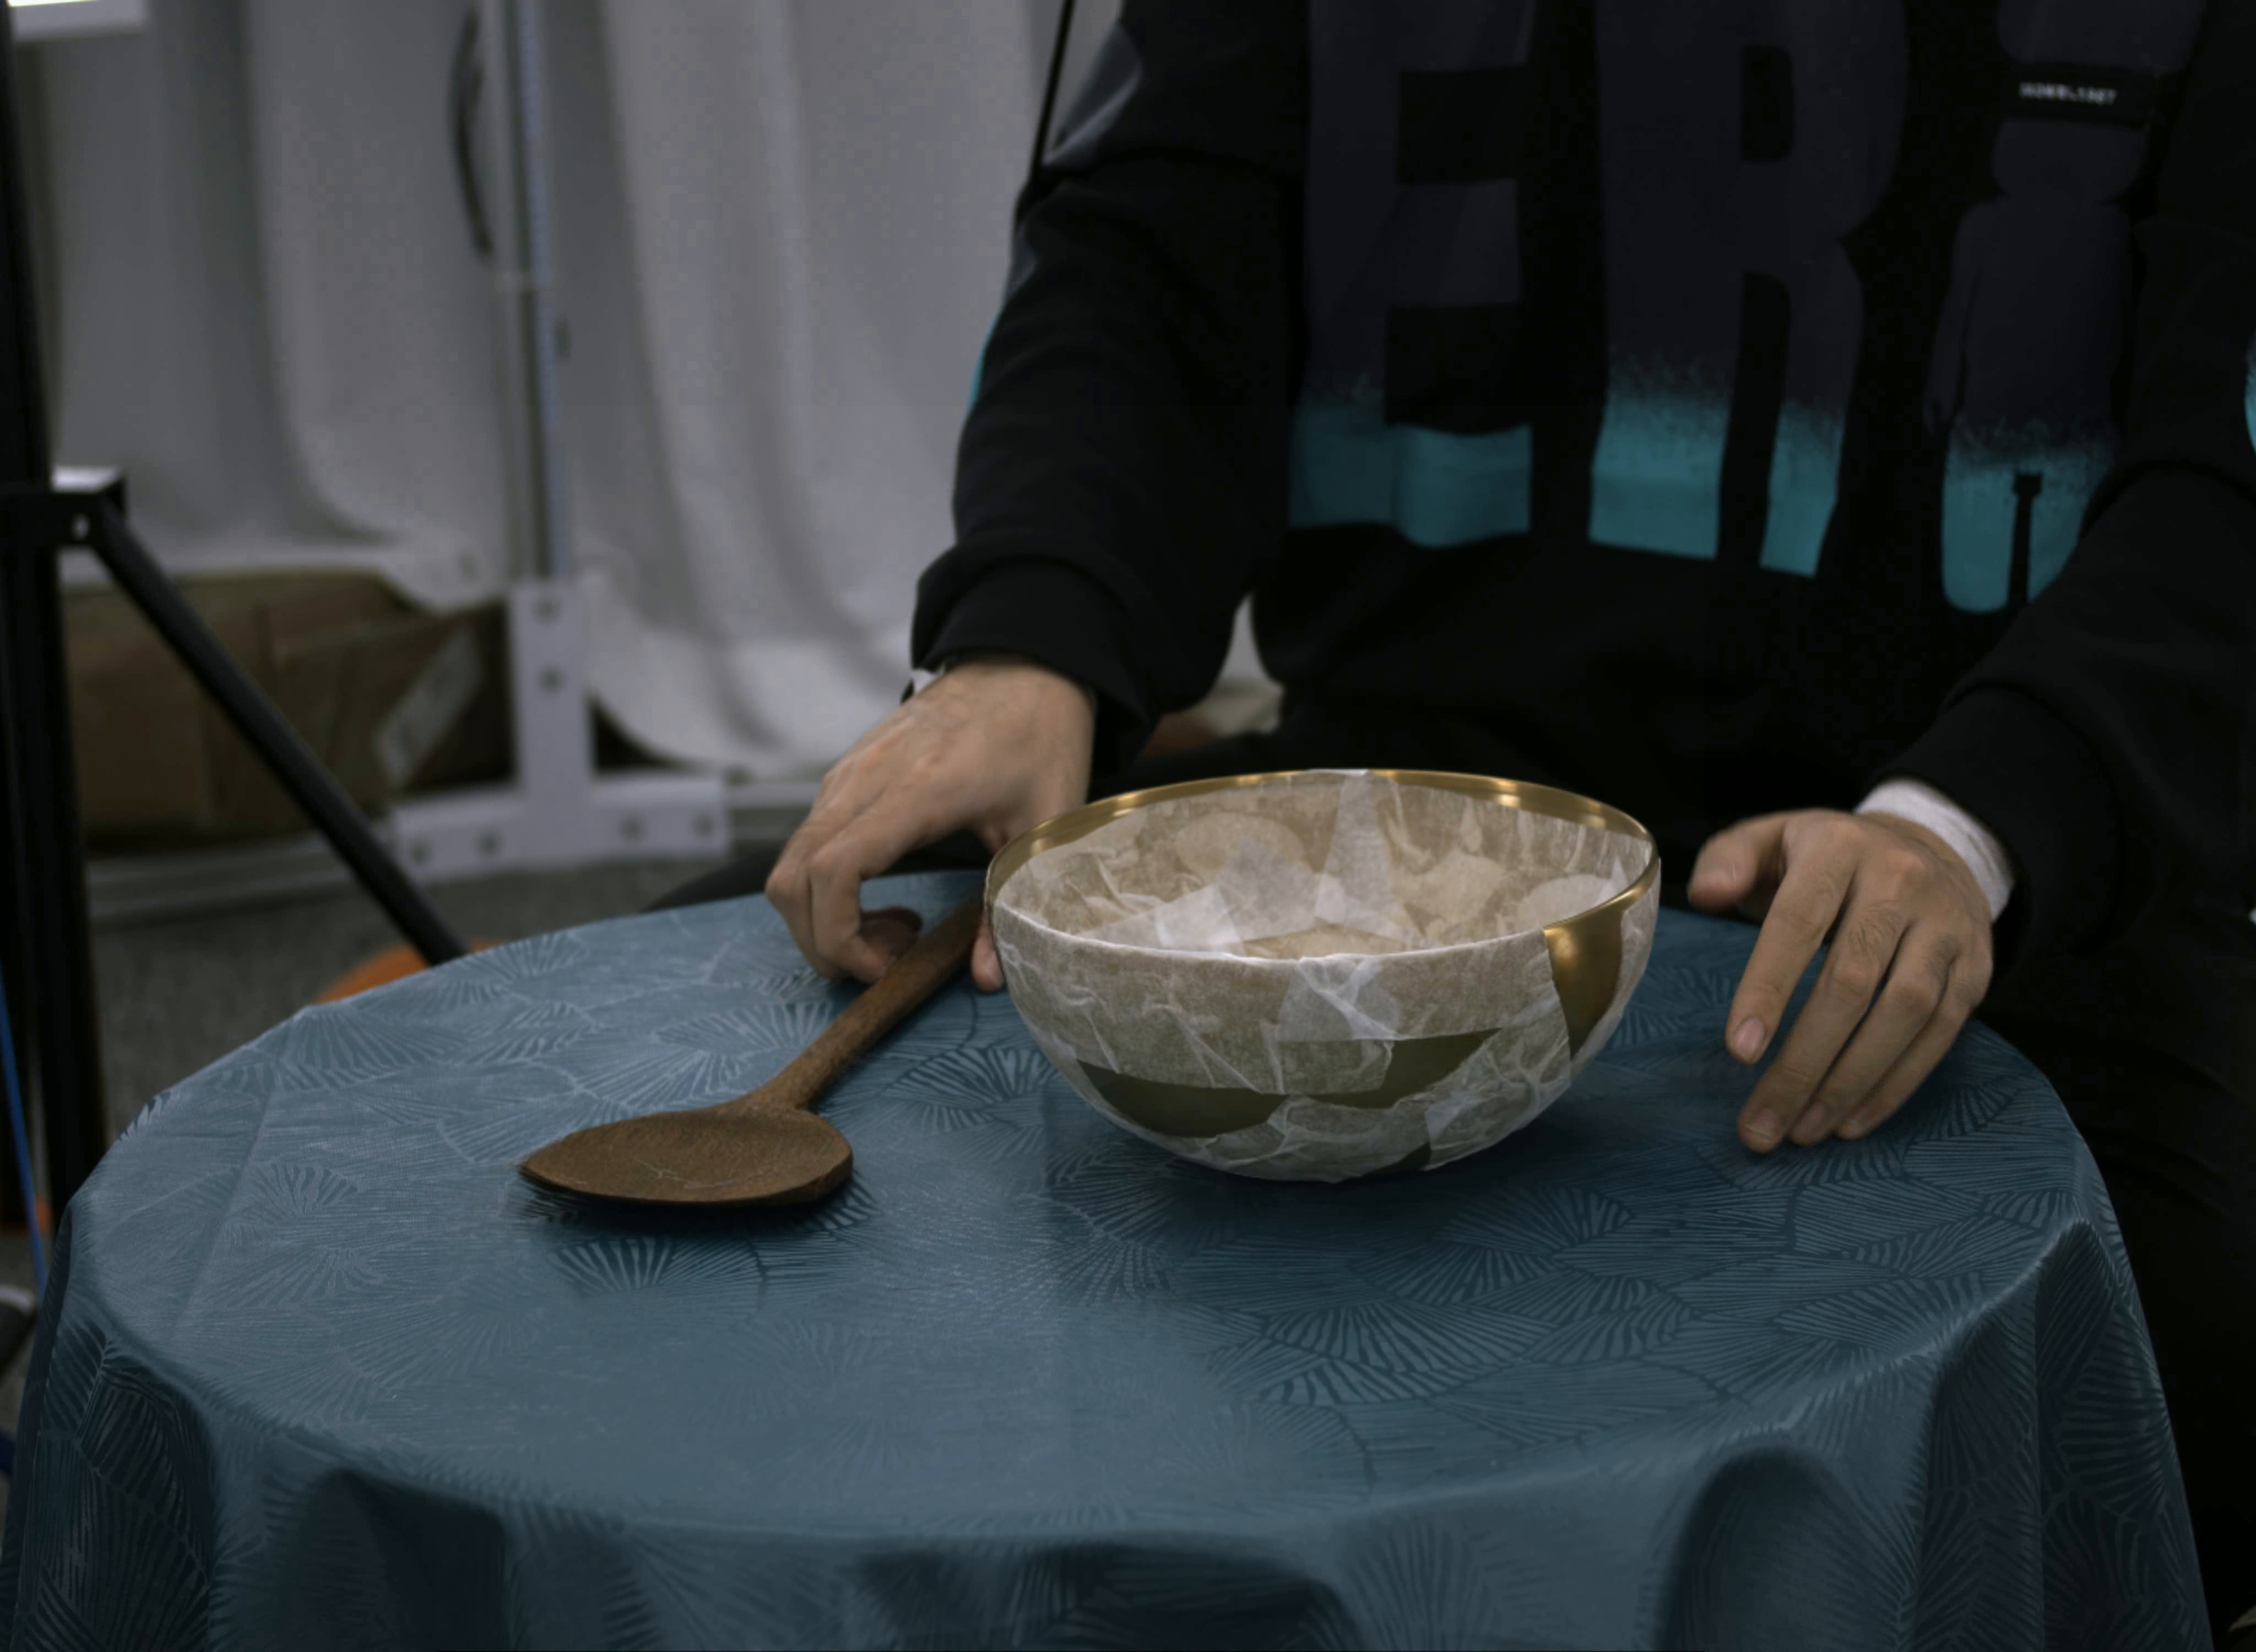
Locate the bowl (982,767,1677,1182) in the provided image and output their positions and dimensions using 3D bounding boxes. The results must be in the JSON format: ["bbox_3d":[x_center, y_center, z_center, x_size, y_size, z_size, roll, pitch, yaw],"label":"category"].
[{"bbox_3d":[0.062,0.052,1.578,0.213,0.094,0.216,-3,14,-1],"label":"bowl"}]

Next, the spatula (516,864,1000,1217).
[{"bbox_3d":[-0.083,0.061,1.713,0.097,0.016,0.382,3,16,18],"label":"spatula"}]
